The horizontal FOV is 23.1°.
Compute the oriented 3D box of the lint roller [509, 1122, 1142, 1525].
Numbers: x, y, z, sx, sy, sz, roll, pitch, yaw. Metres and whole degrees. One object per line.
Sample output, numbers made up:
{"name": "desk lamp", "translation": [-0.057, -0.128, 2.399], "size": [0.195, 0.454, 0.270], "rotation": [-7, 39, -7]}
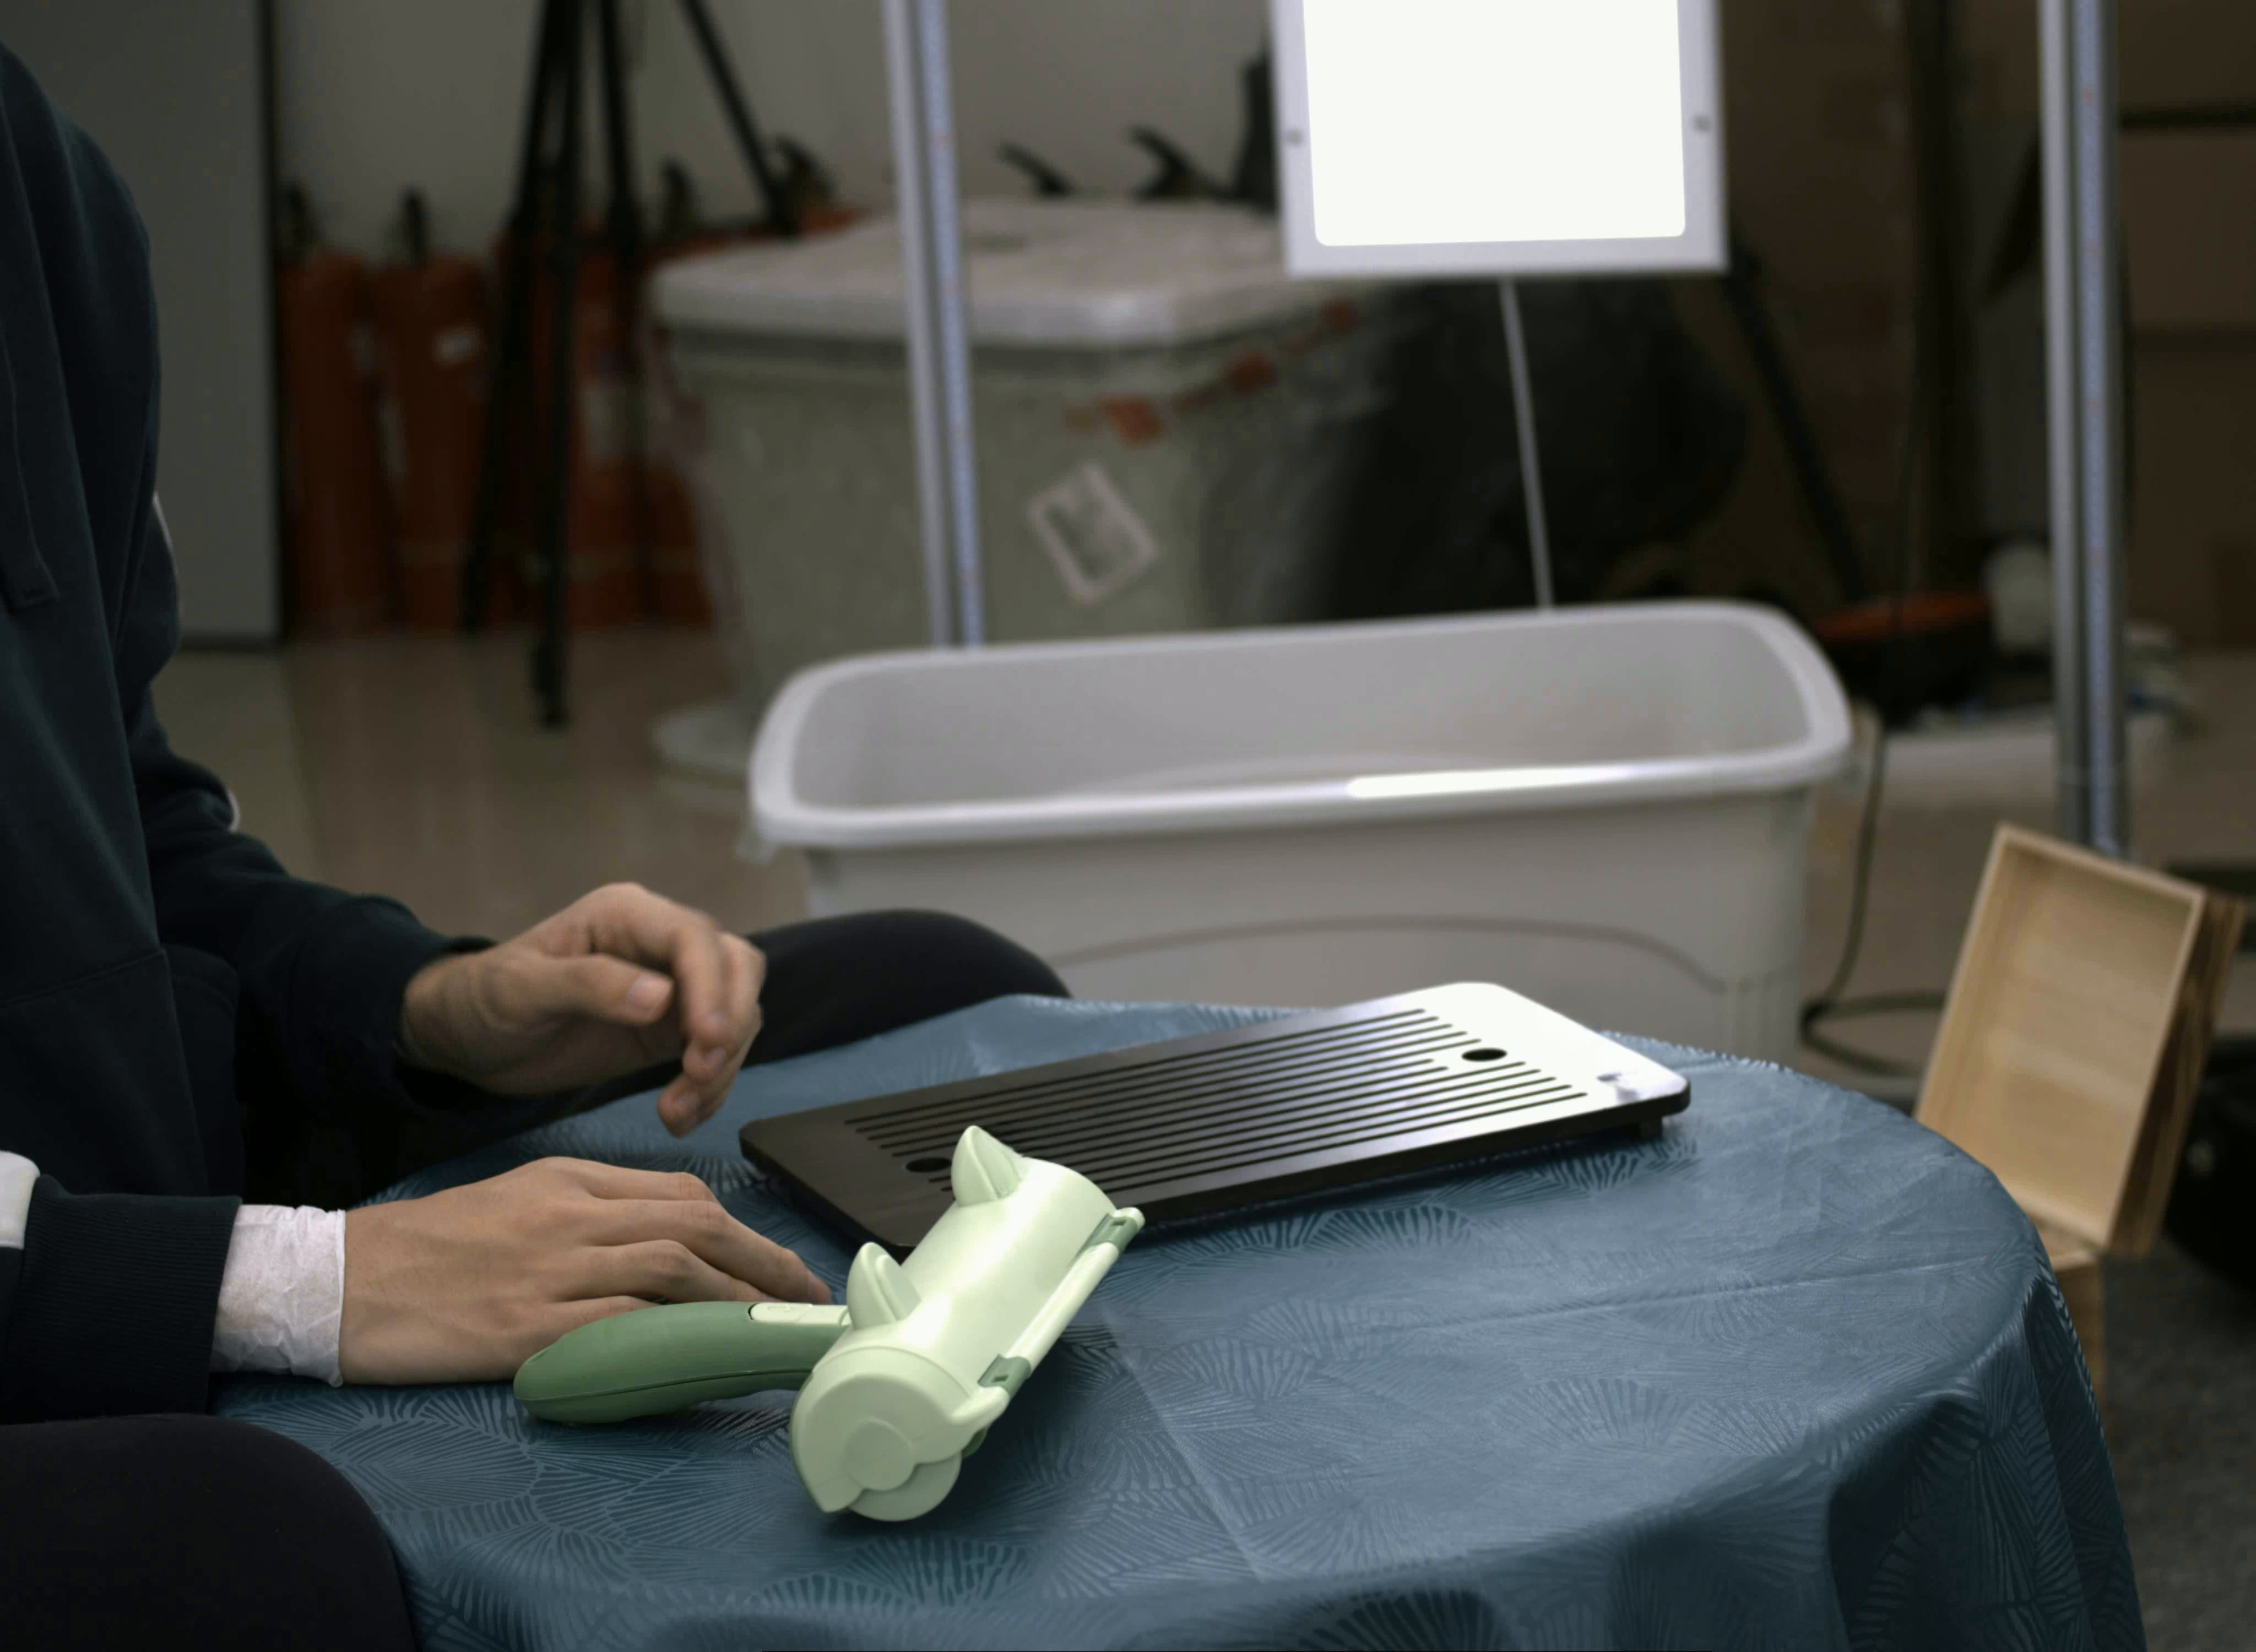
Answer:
{"name": "lint roller", "translation": [-0.105, 0.145, 1.689], "size": [0.185, 0.082, 0.196], "rotation": [2, 15, 15]}

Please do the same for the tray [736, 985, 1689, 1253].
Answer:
{"name": "tray", "translation": [0.029, 0.106, 1.931], "size": [0.300, 0.019, 0.172], "rotation": [-11, 15, -20]}
